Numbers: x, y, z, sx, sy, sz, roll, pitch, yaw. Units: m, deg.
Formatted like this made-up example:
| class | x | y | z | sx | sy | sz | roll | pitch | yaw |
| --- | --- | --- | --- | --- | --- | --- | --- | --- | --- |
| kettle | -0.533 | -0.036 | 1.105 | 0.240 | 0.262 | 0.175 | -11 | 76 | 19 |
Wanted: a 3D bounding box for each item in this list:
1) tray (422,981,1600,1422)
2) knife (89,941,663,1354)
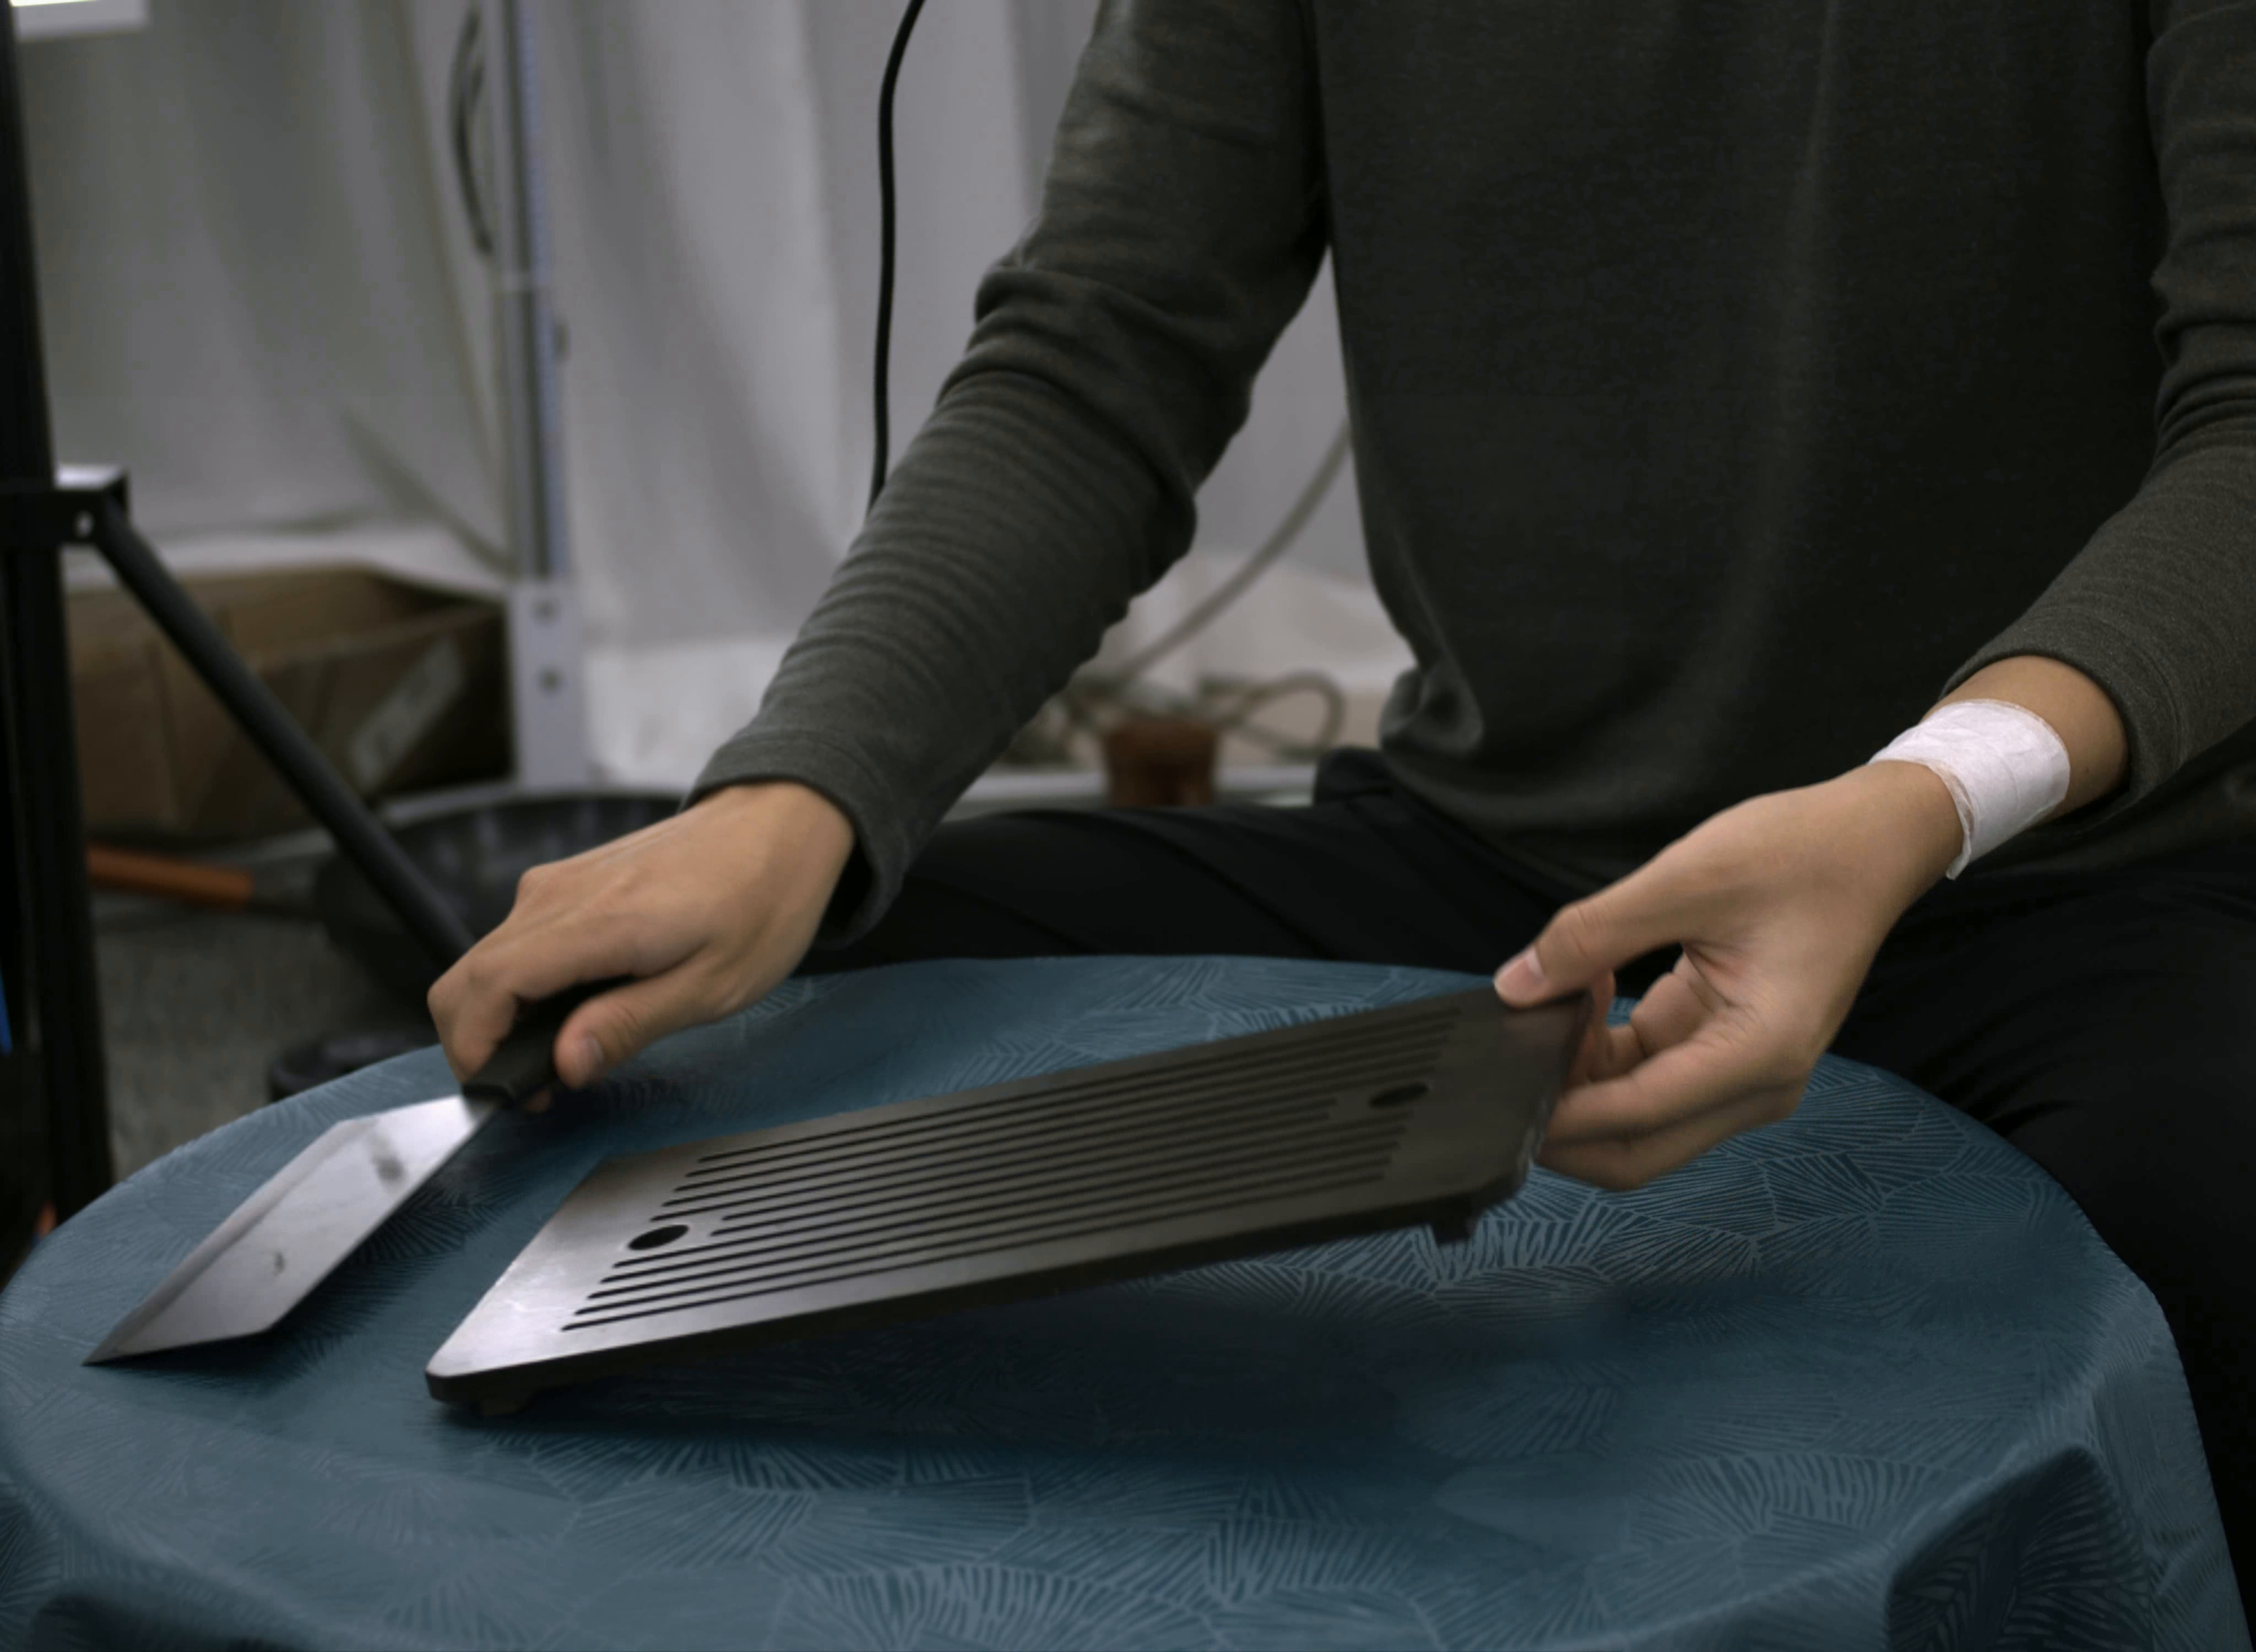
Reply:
| class | x | y | z | sx | sy | sz | roll | pitch | yaw |
| --- | --- | --- | --- | --- | --- | --- | --- | --- | --- |
| tray | -0.028 | 0.102 | 1.436 | 0.308 | 0.018 | 0.169 | -11 | 14 | 18 |
| knife | -0.214 | 0.094 | 1.587 | 0.082 | 0.021 | 0.299 | -9 | 16 | 25 |
